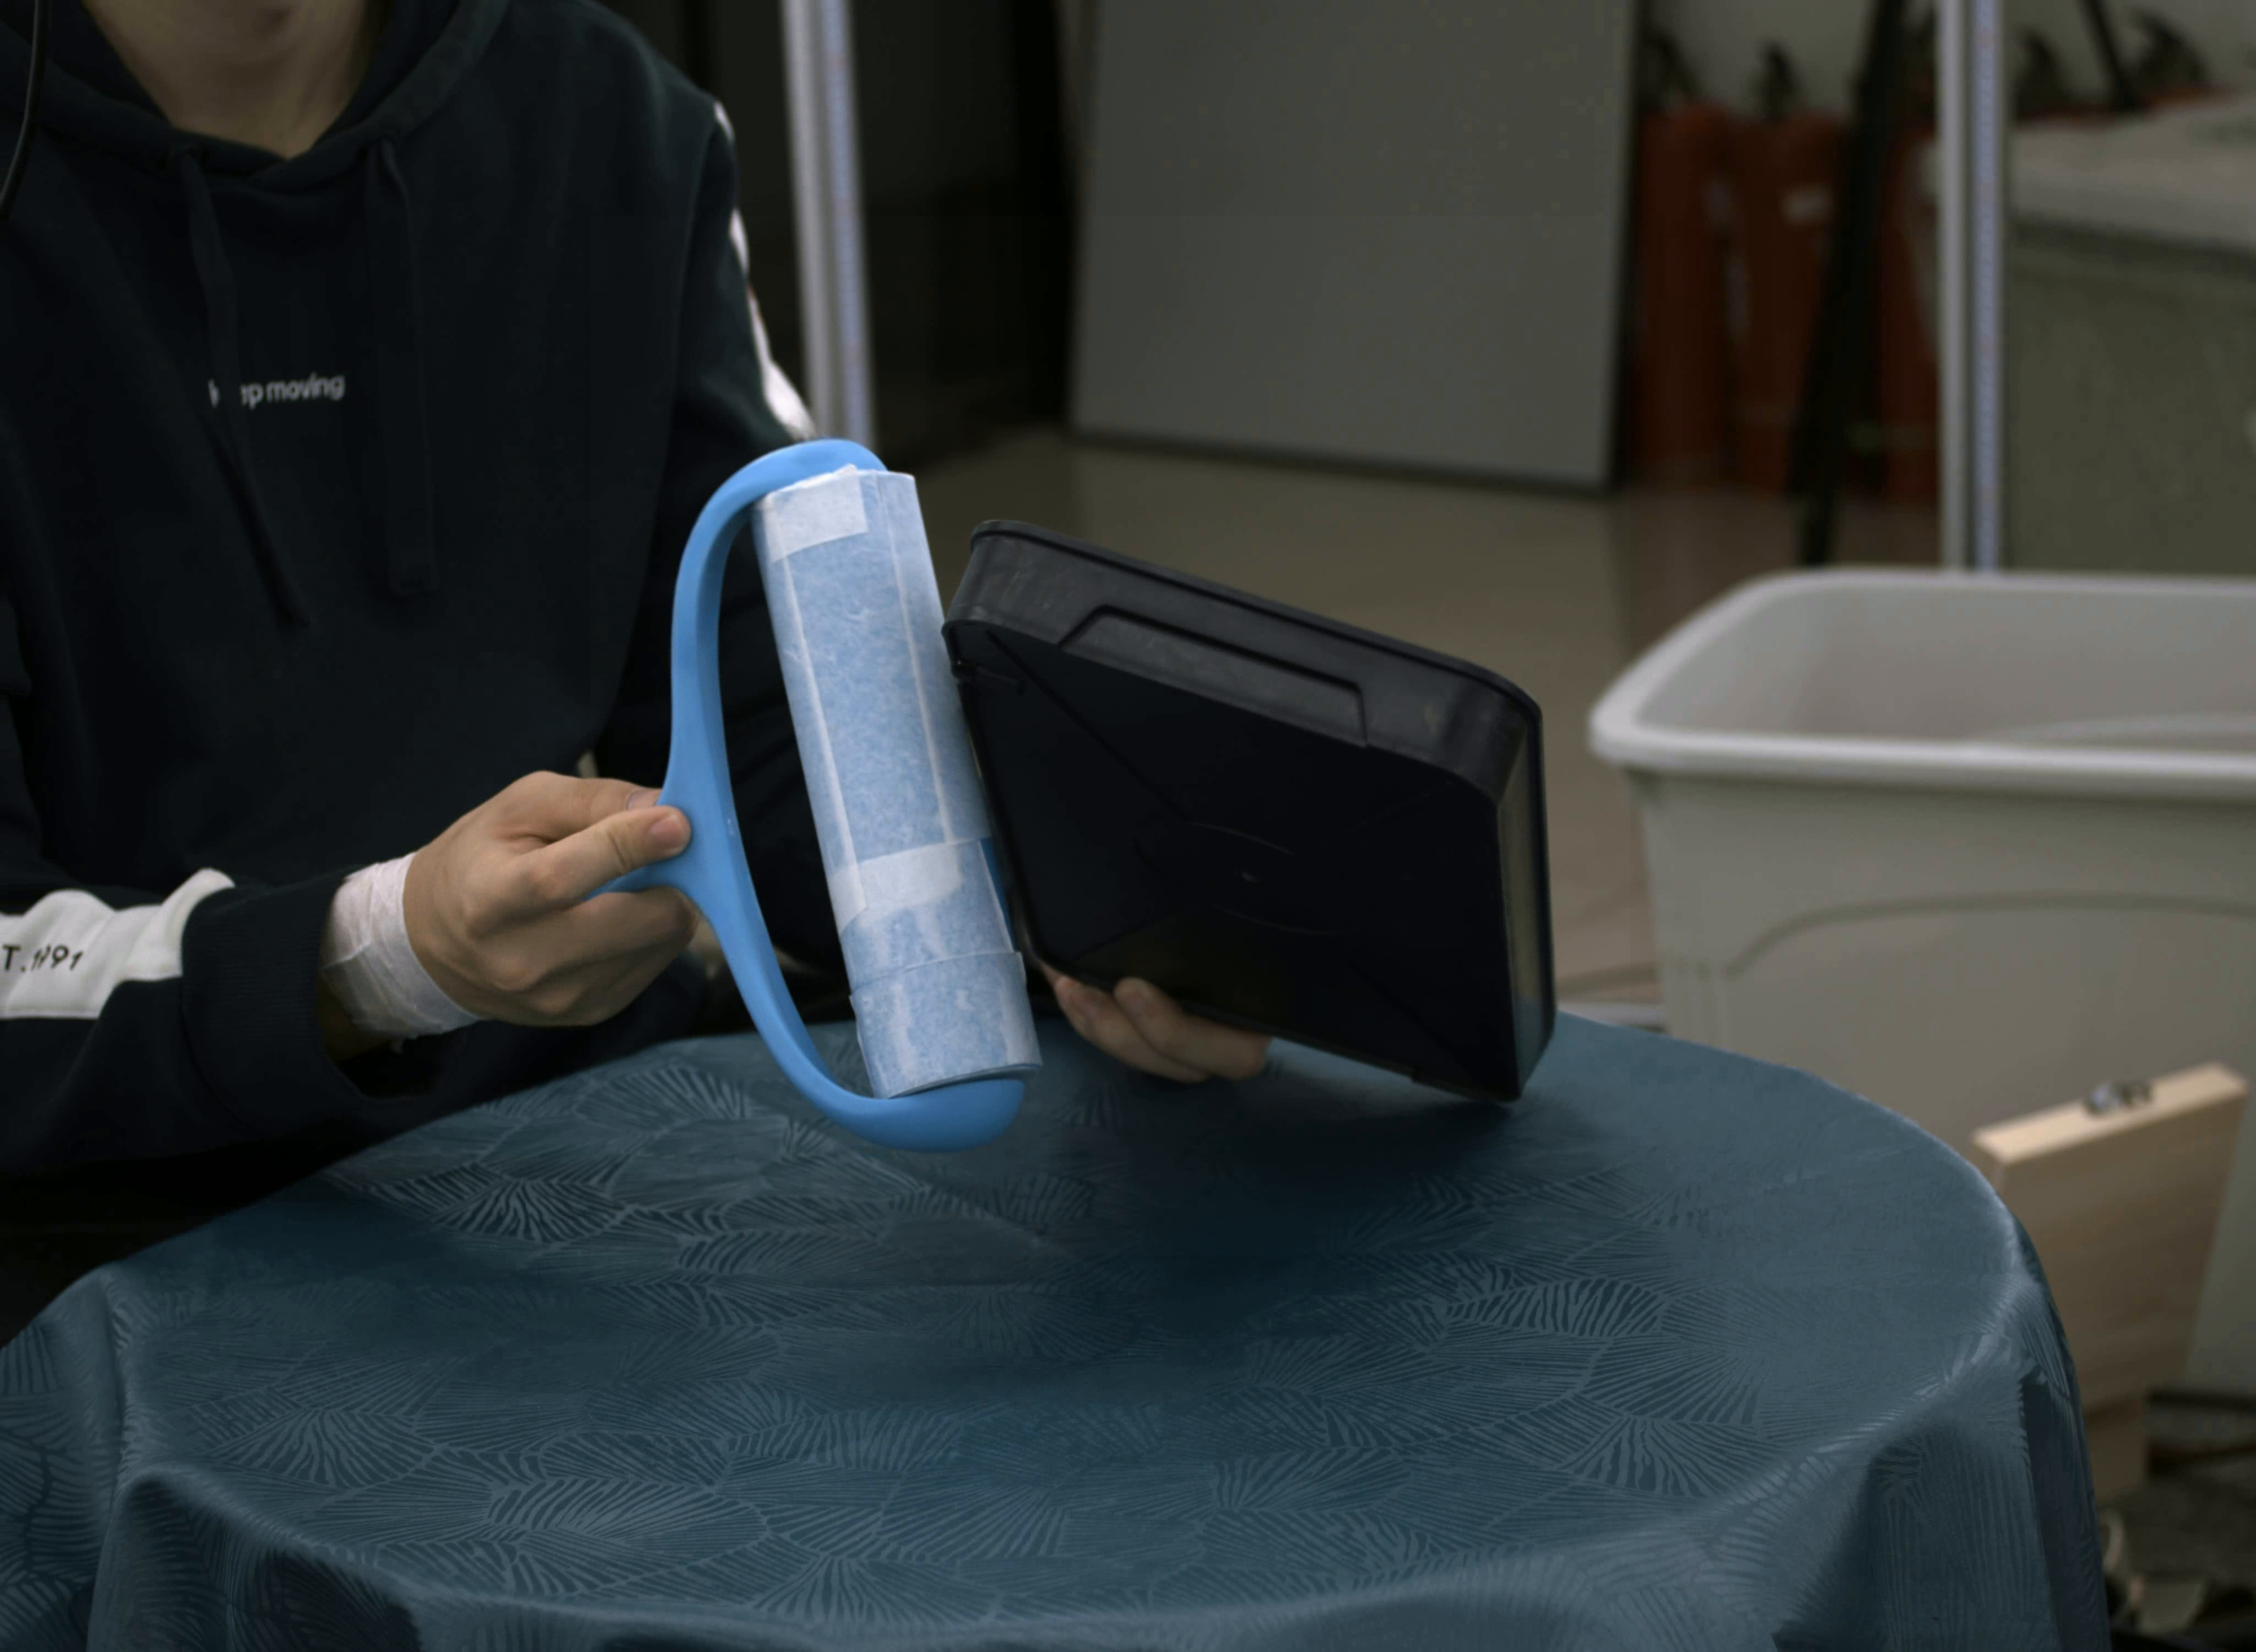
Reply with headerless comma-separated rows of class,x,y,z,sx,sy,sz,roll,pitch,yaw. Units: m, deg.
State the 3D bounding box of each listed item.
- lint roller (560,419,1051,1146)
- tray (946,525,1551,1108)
lint roller,-0.120,0.005,1.689,0.181,0.232,0.067,-22,-13,28
tray,0.043,0.005,1.723,0.183,0.037,0.317,17,-19,11
